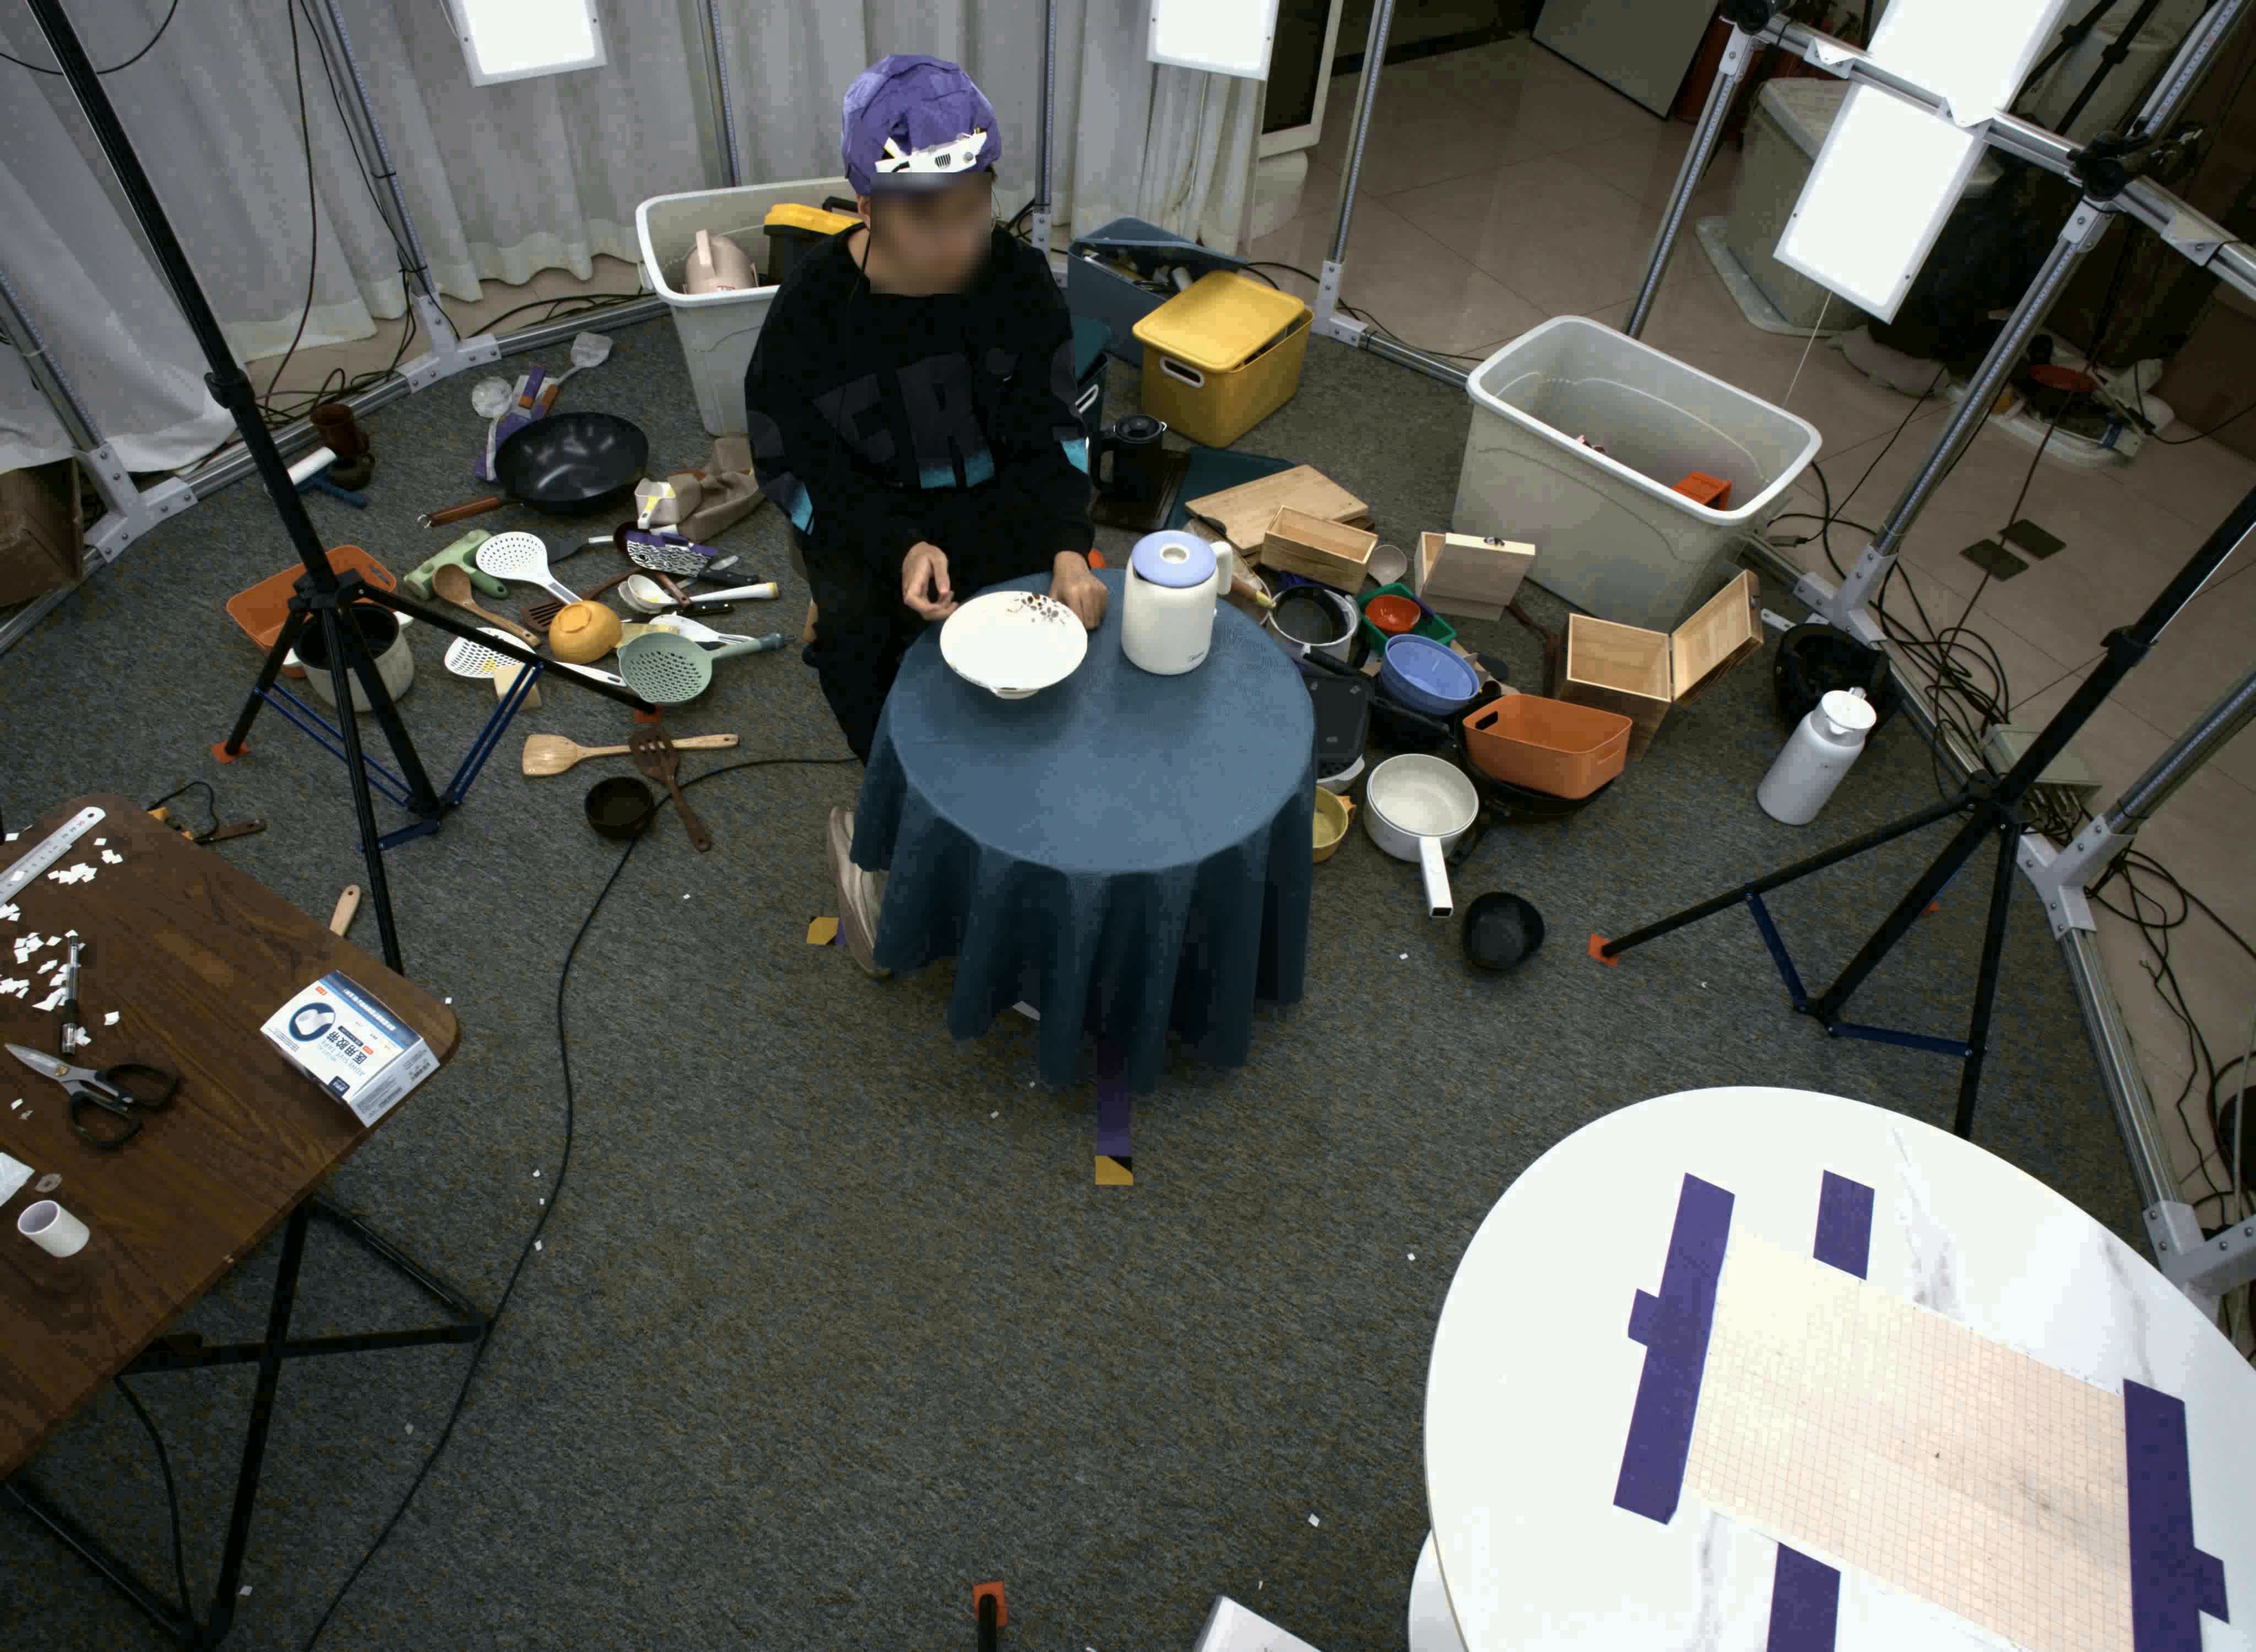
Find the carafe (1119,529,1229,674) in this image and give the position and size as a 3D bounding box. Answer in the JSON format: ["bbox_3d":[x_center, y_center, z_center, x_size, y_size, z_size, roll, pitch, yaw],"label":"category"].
[{"bbox_3d":[0.076,-0.332,1.851,0.192,0.178,0.134,-32,59,-30],"label":"carafe"}]

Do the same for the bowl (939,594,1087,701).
[{"bbox_3d":[-0.161,-0.234,1.813,0.204,0.076,0.209,2,47,-2],"label":"bowl"}]
